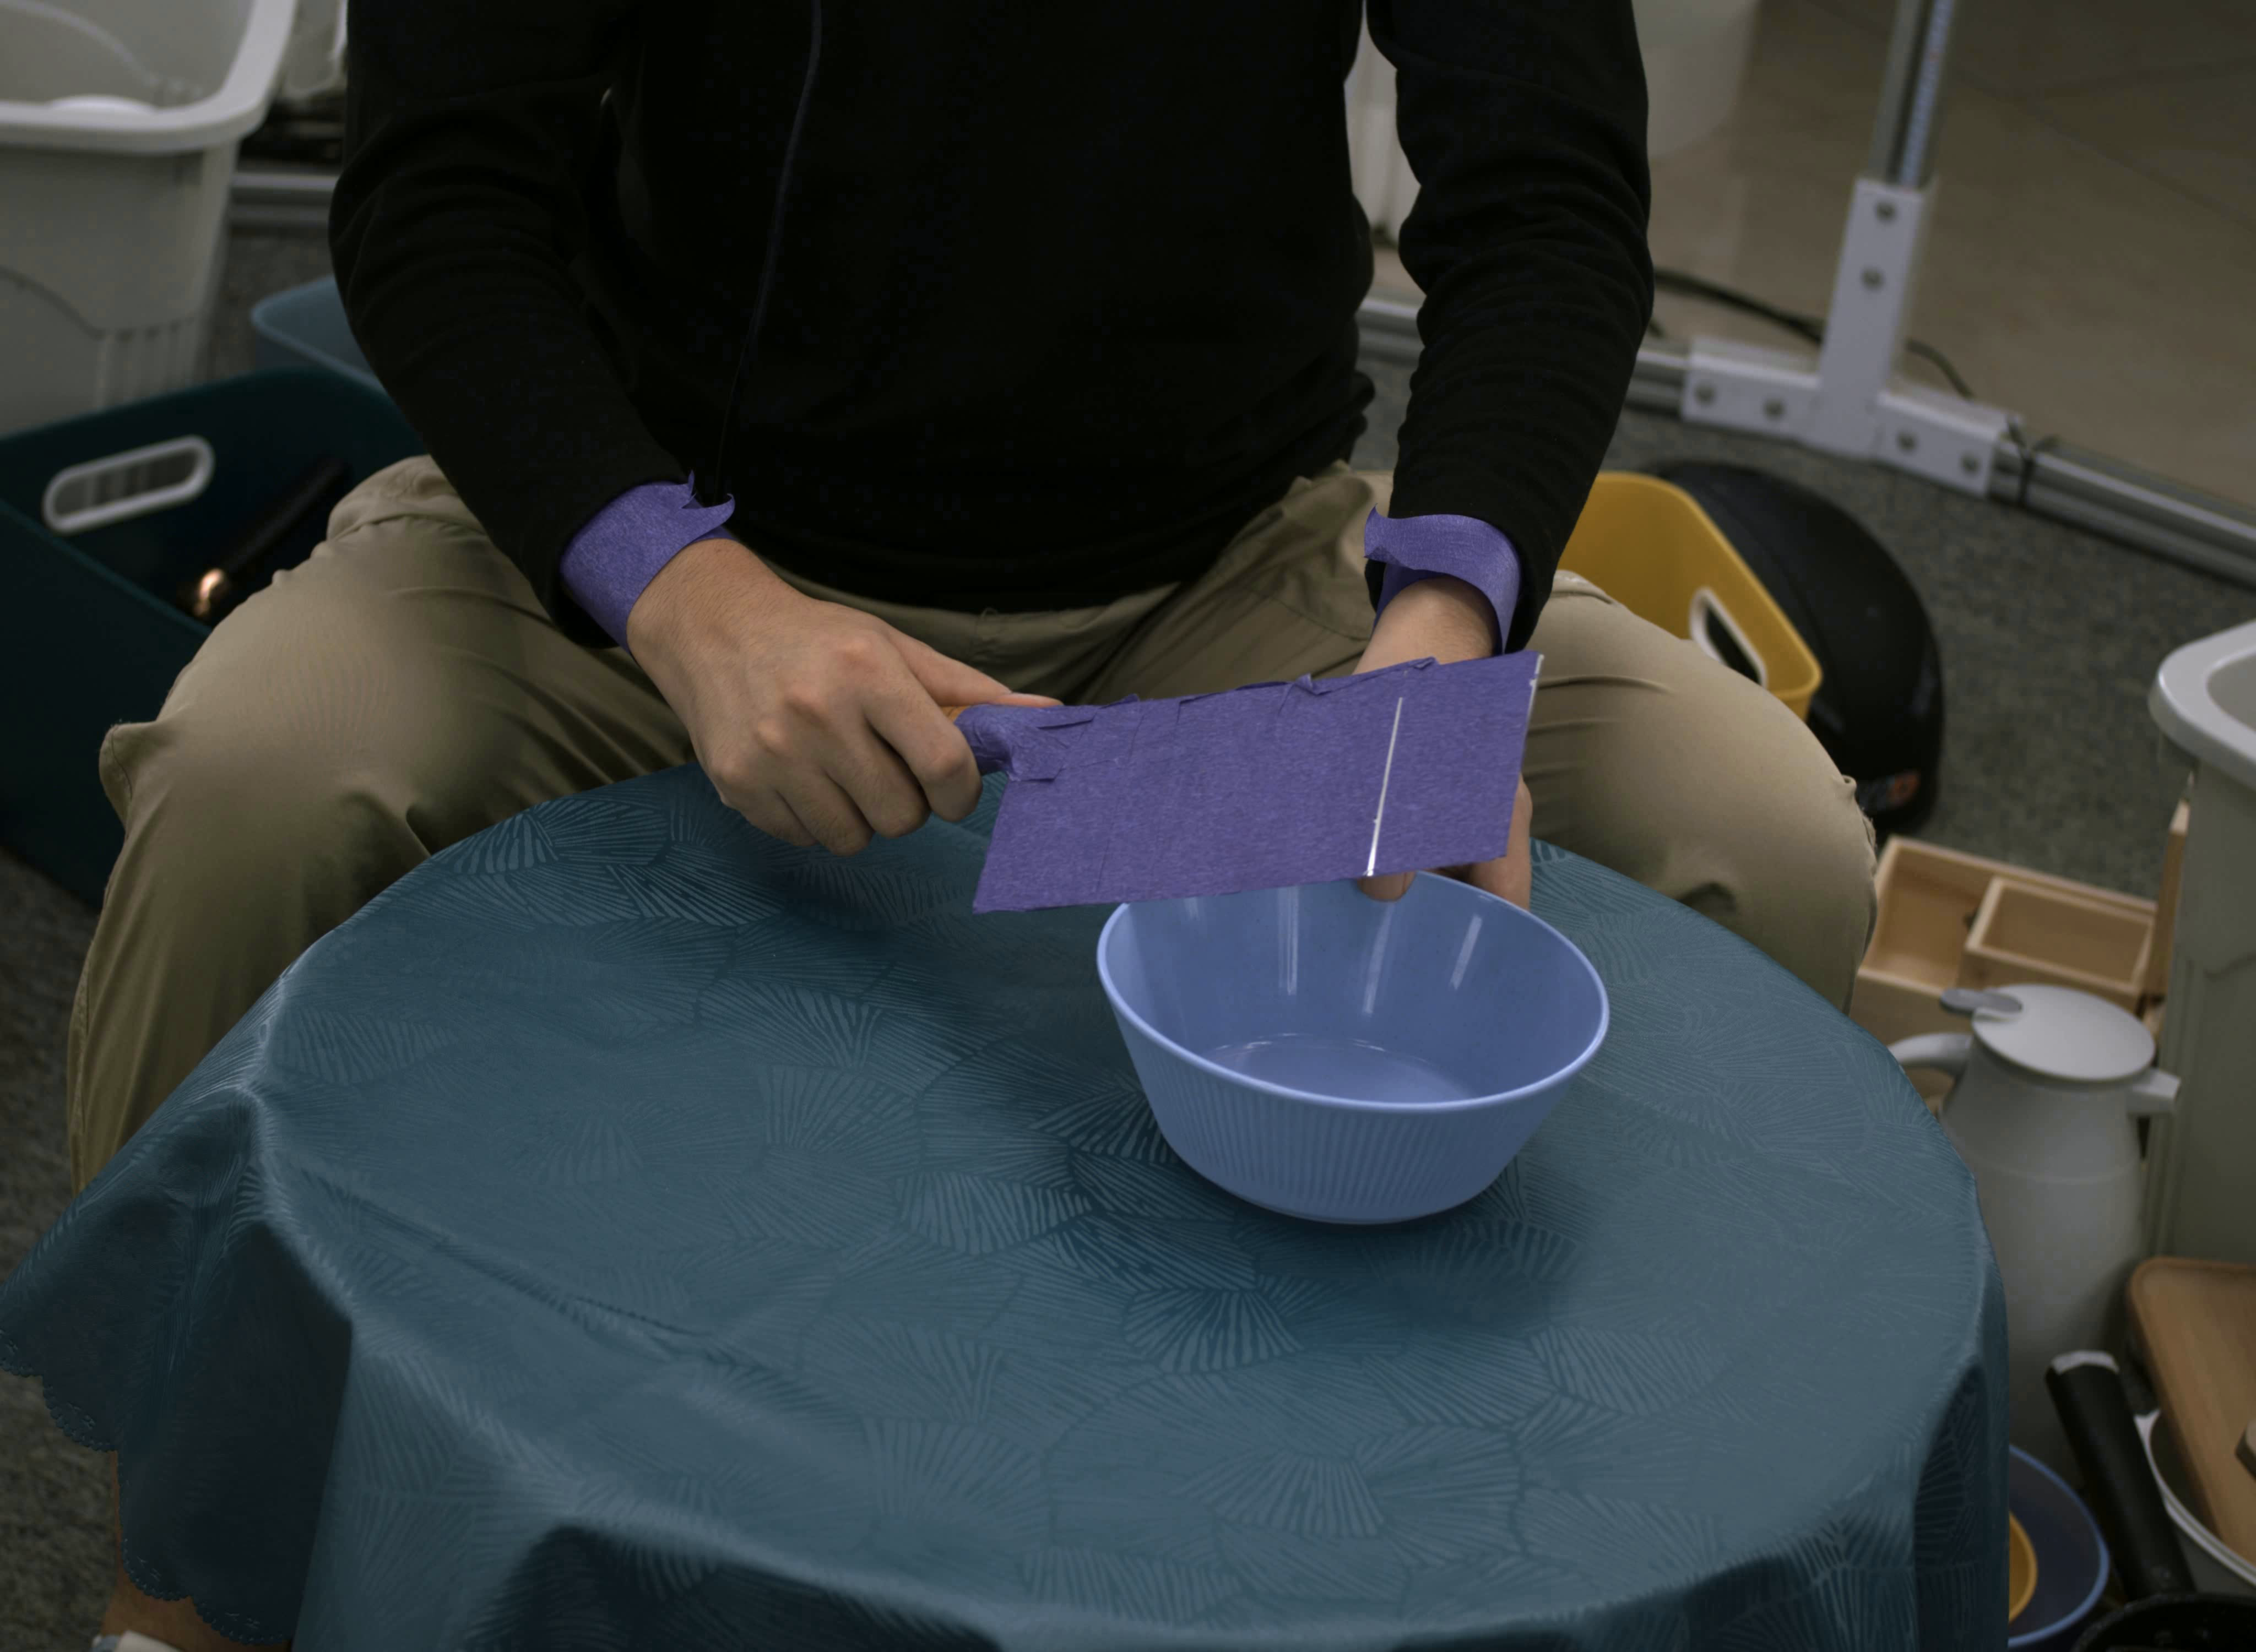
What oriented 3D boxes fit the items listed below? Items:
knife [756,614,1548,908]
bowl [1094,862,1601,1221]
[{"bbox_3d":[-0.001,-0.015,1.879,0.316,0.032,0.104,-9,48,29],"label":"knife"},{"bbox_3d":[0.071,0.079,1.830,0.175,0.070,0.177,6,26,-3],"label":"bowl"}]
